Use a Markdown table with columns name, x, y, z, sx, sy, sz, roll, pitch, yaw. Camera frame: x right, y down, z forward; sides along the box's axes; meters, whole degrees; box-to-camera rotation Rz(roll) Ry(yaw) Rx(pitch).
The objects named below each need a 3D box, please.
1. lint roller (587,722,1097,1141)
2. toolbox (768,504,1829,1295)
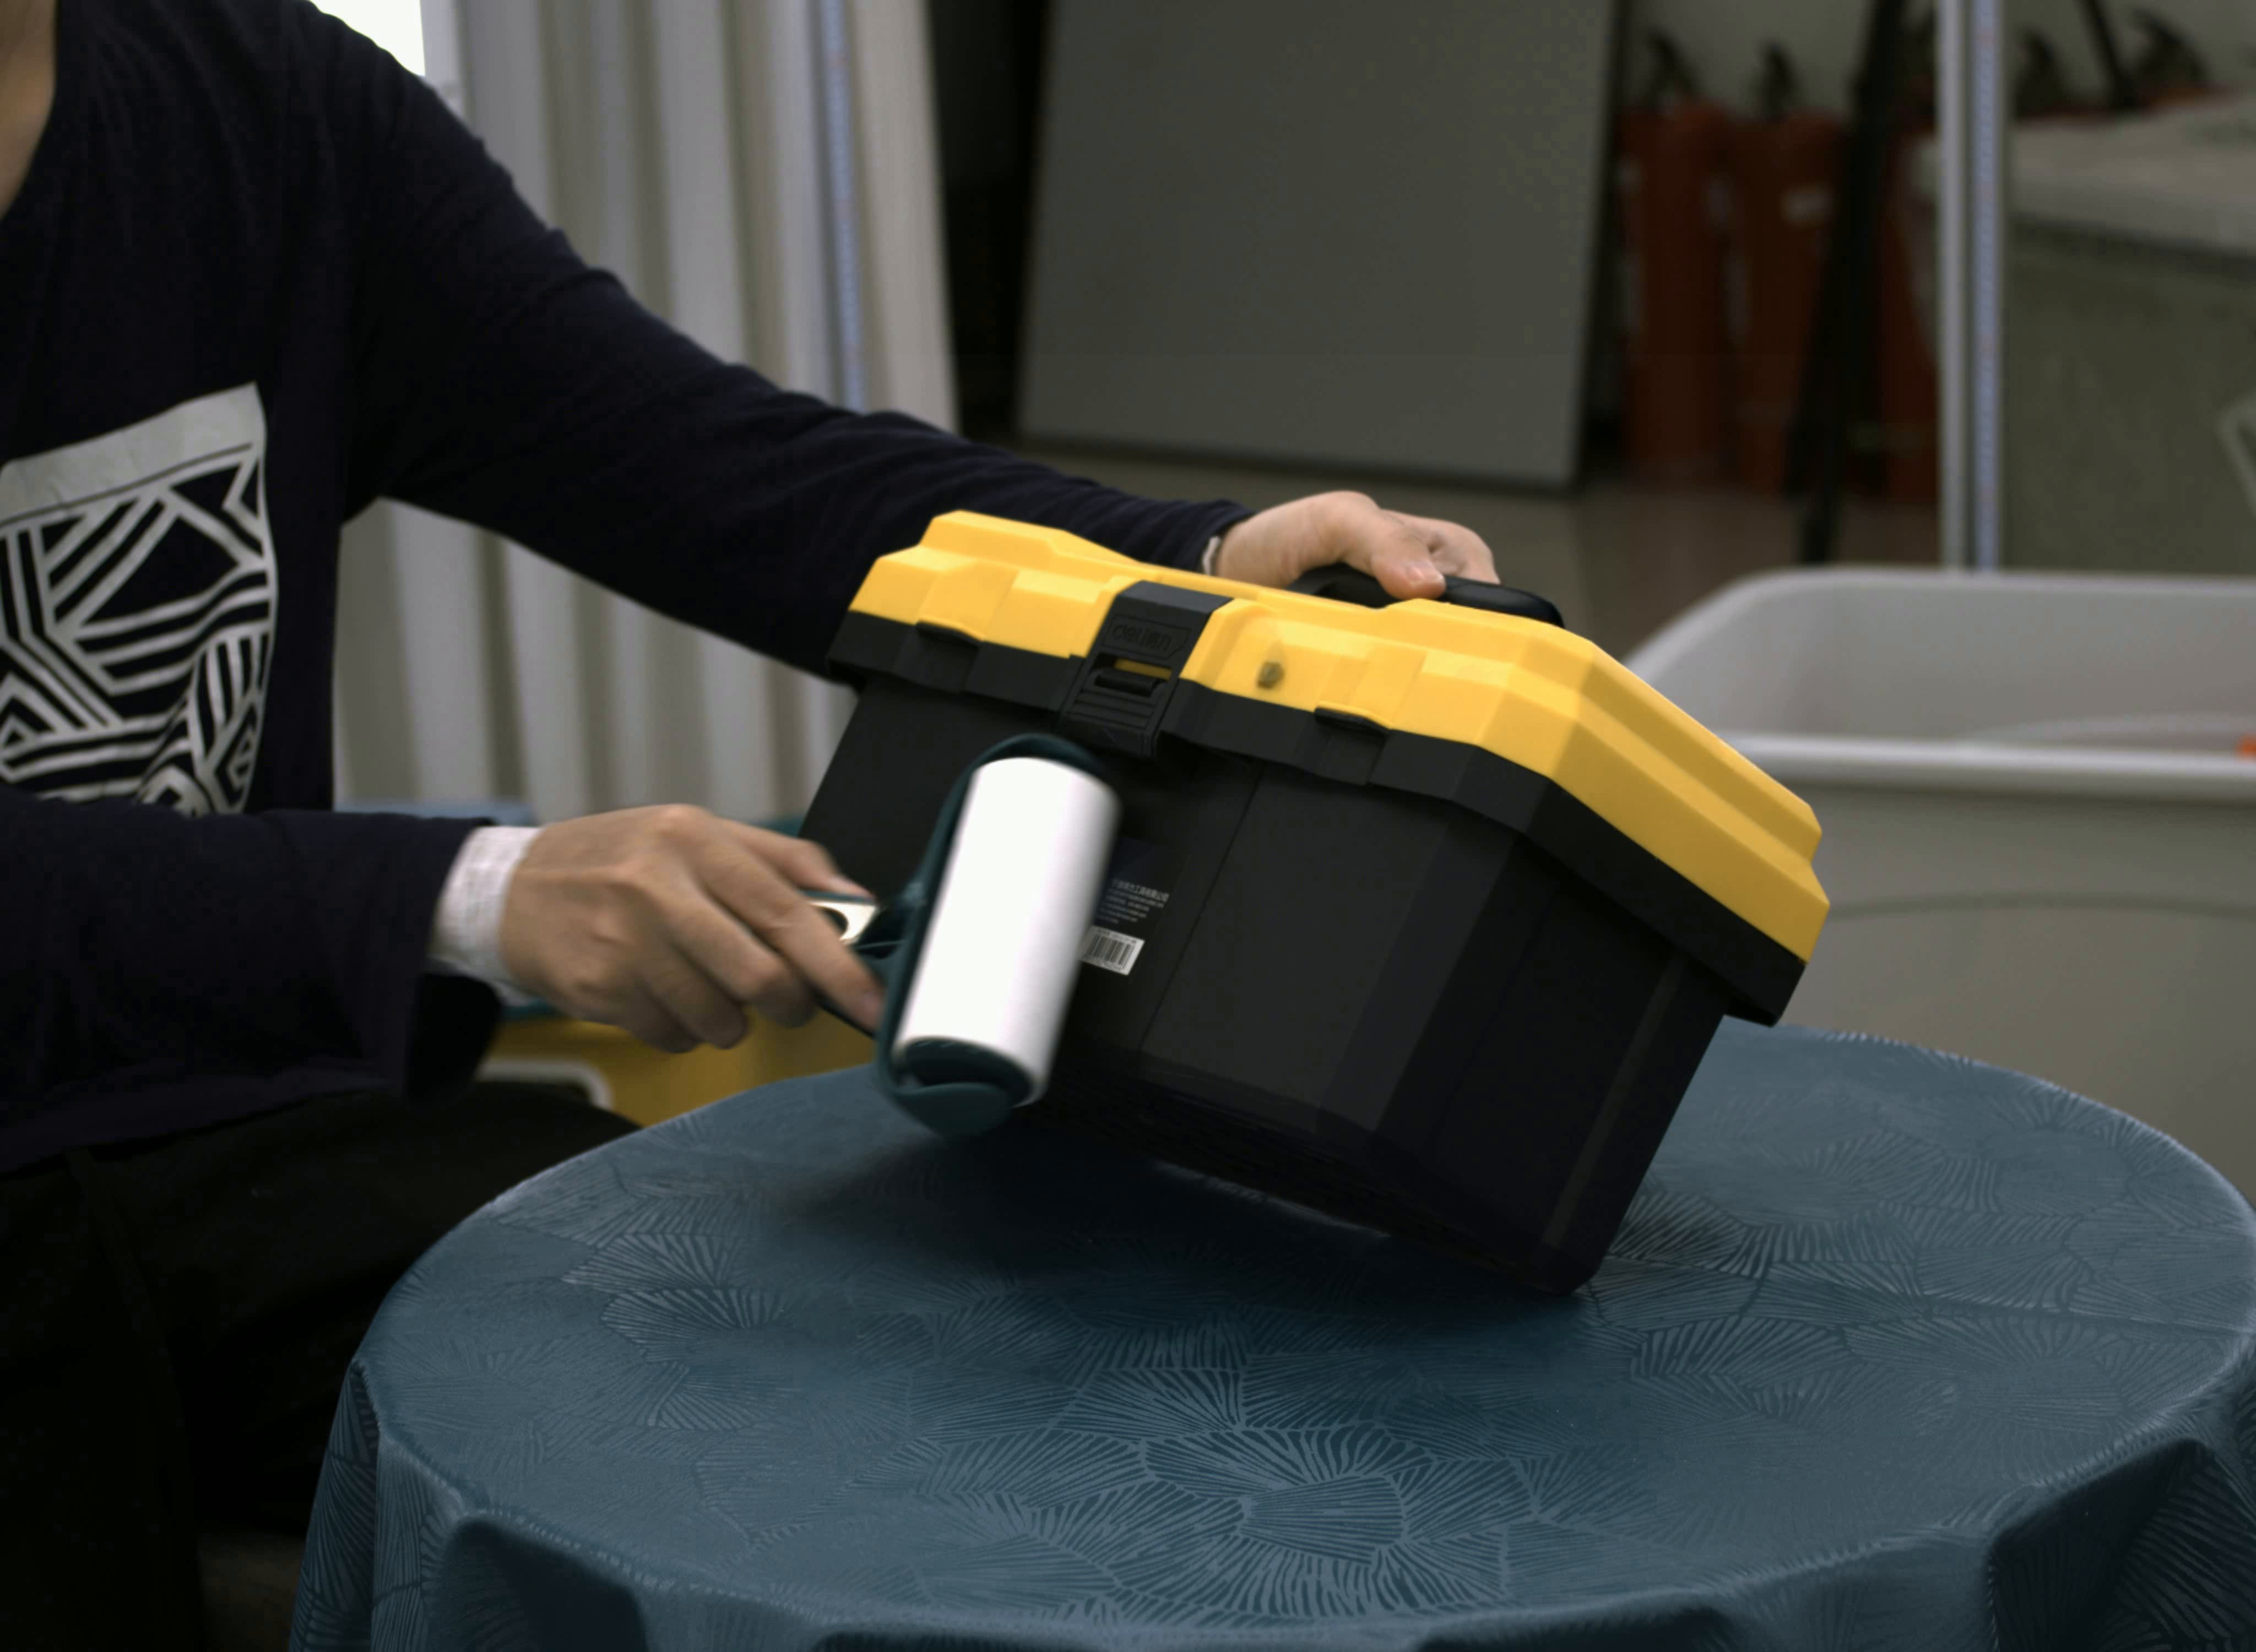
| name | x | y | z | sx | sy | sz | roll | pitch | yaw |
| --- | --- | --- | --- | --- | --- | --- | --- | --- | --- |
| lint roller | -0.102 | 0.032 | 1.701 | 0.180 | 0.135 | 0.048 | 0 | -30 | 27 |
| toolbox | 0.040 | 0.018 | 1.734 | 0.178 | 0.174 | 0.355 | 34 | -13 | -37 |
